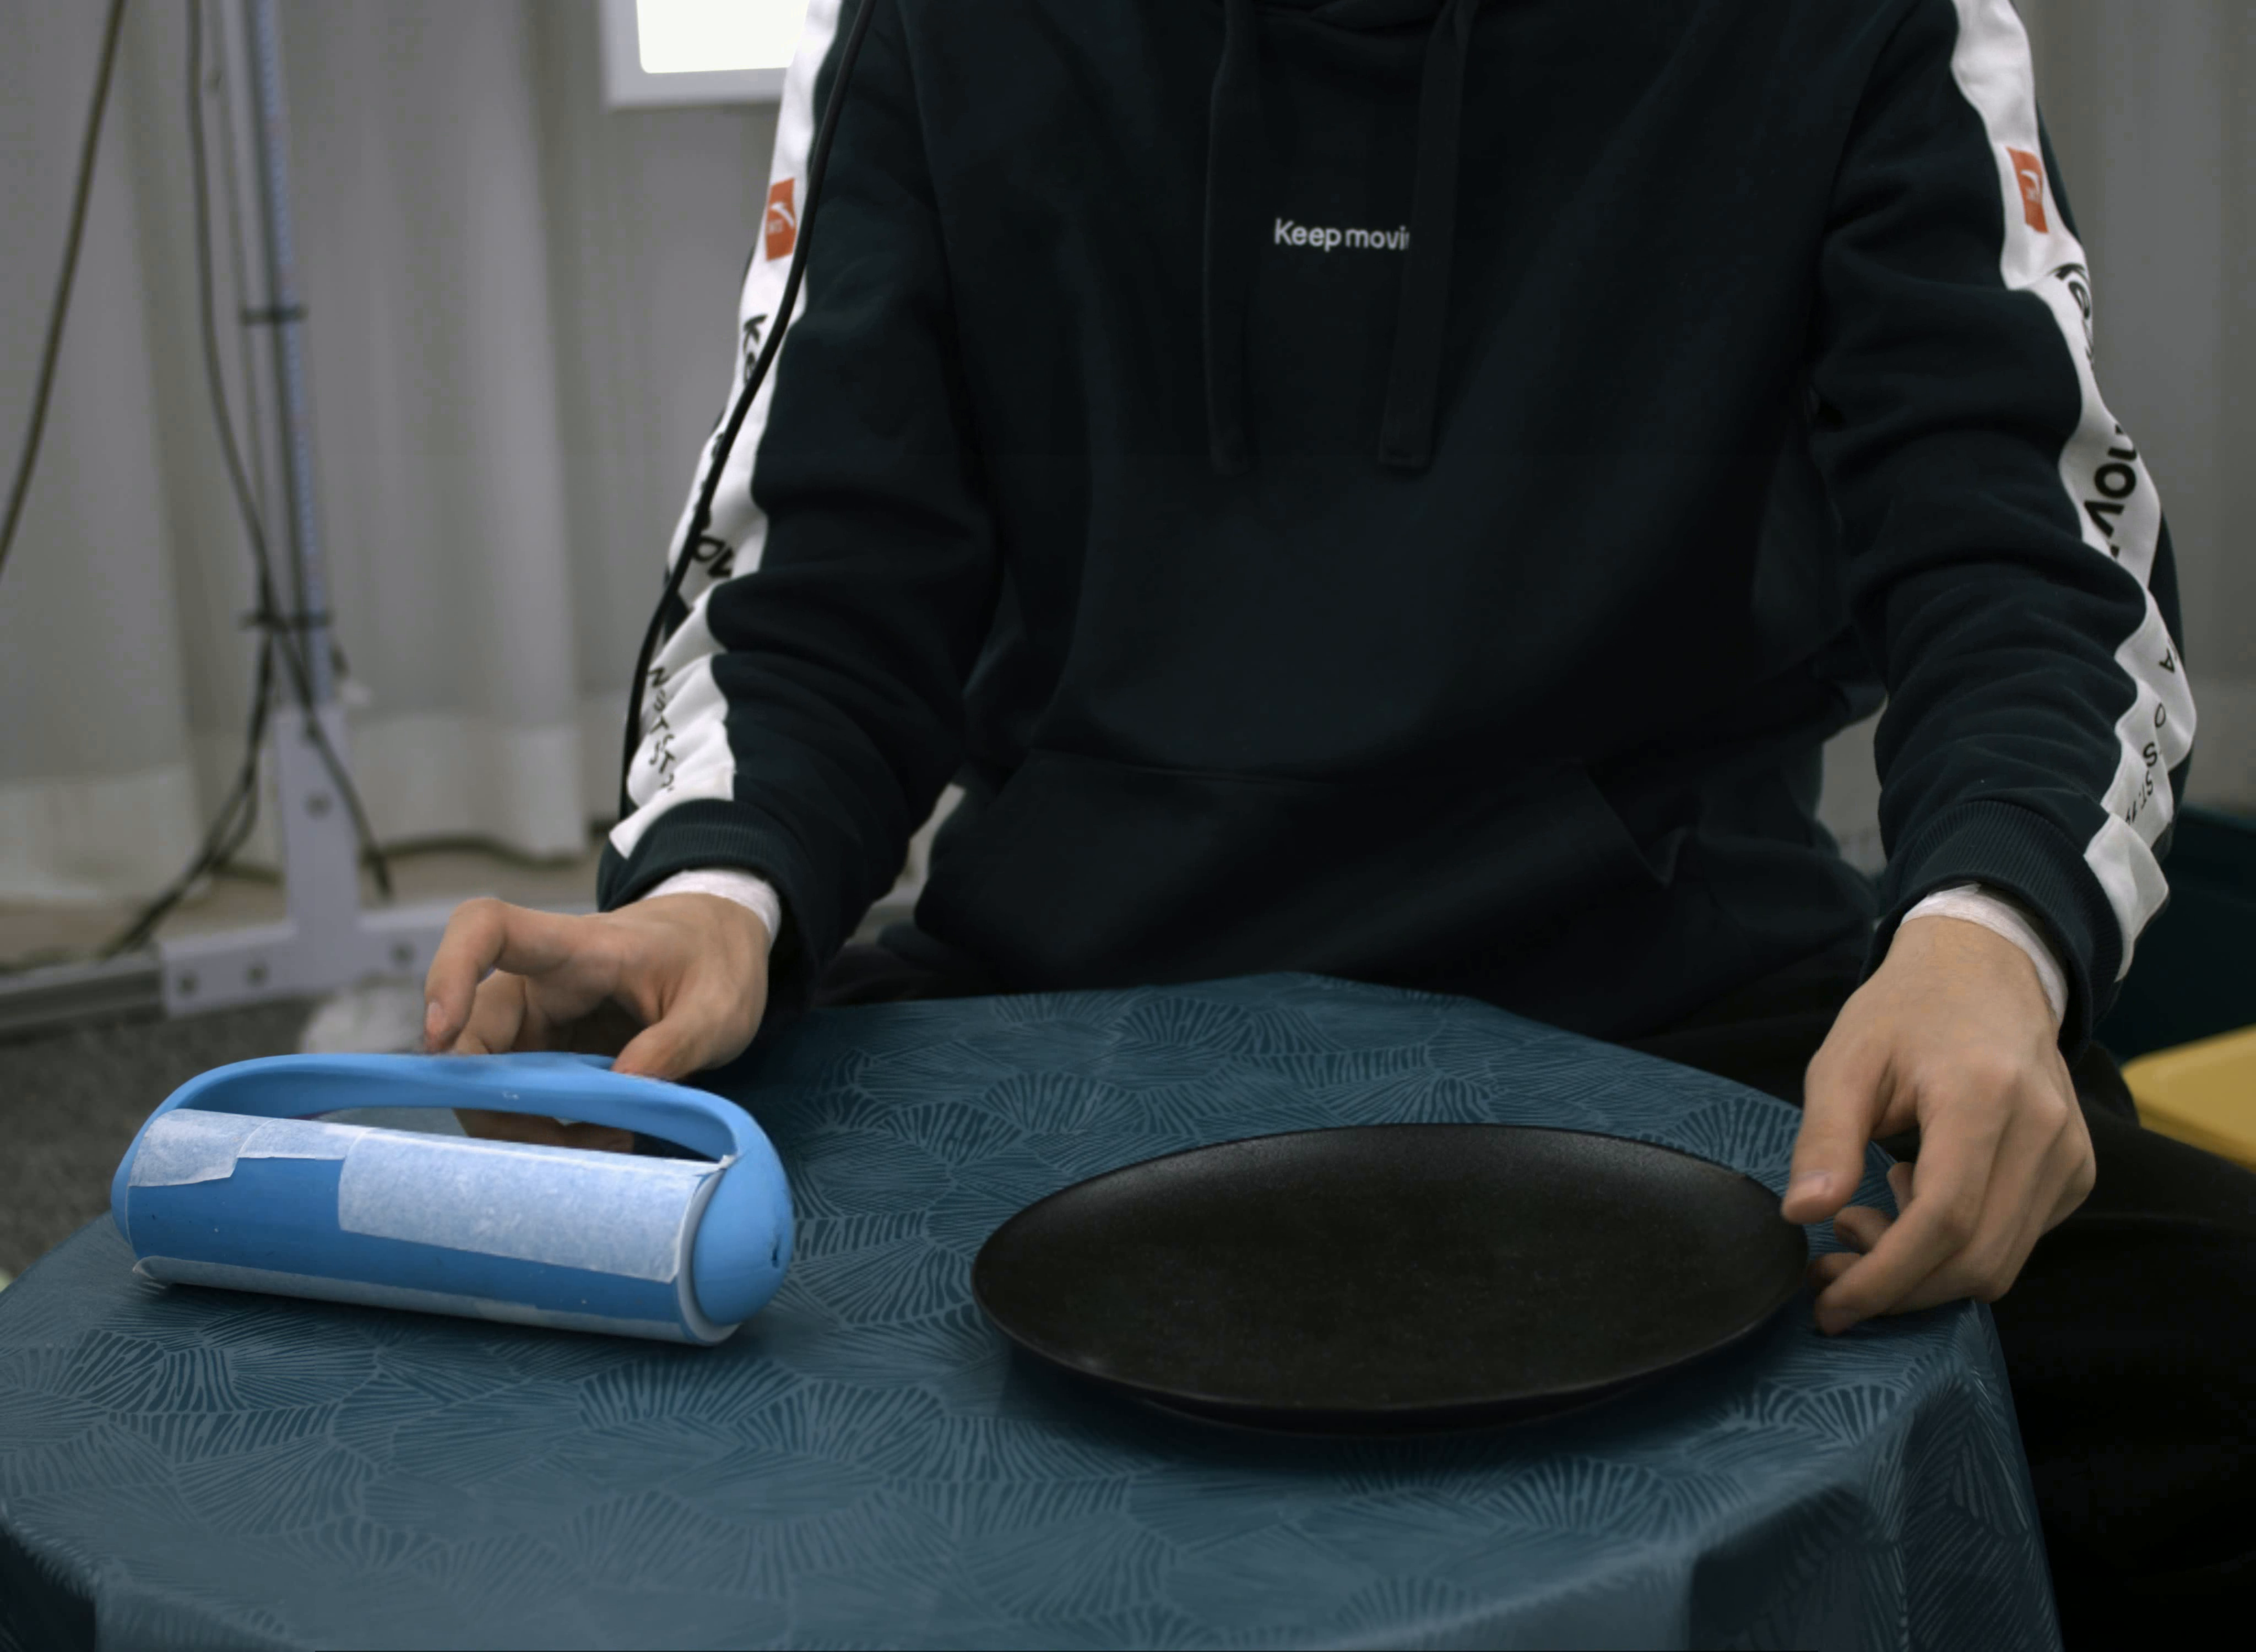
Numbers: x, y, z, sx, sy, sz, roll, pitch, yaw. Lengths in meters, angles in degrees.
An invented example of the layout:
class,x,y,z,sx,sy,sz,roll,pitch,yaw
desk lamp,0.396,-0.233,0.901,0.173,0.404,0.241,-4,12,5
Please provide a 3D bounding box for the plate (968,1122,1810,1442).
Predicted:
class,x,y,z,sx,sy,sz,roll,pitch,yaw
plate,0.075,0.135,1.581,0.243,0.023,0.246,-3,15,0

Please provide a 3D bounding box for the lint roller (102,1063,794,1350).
class,x,y,z,sx,sy,sz,roll,pitch,yaw
lint roller,-0.184,0.104,1.684,0.229,0.067,0.181,2,15,22
